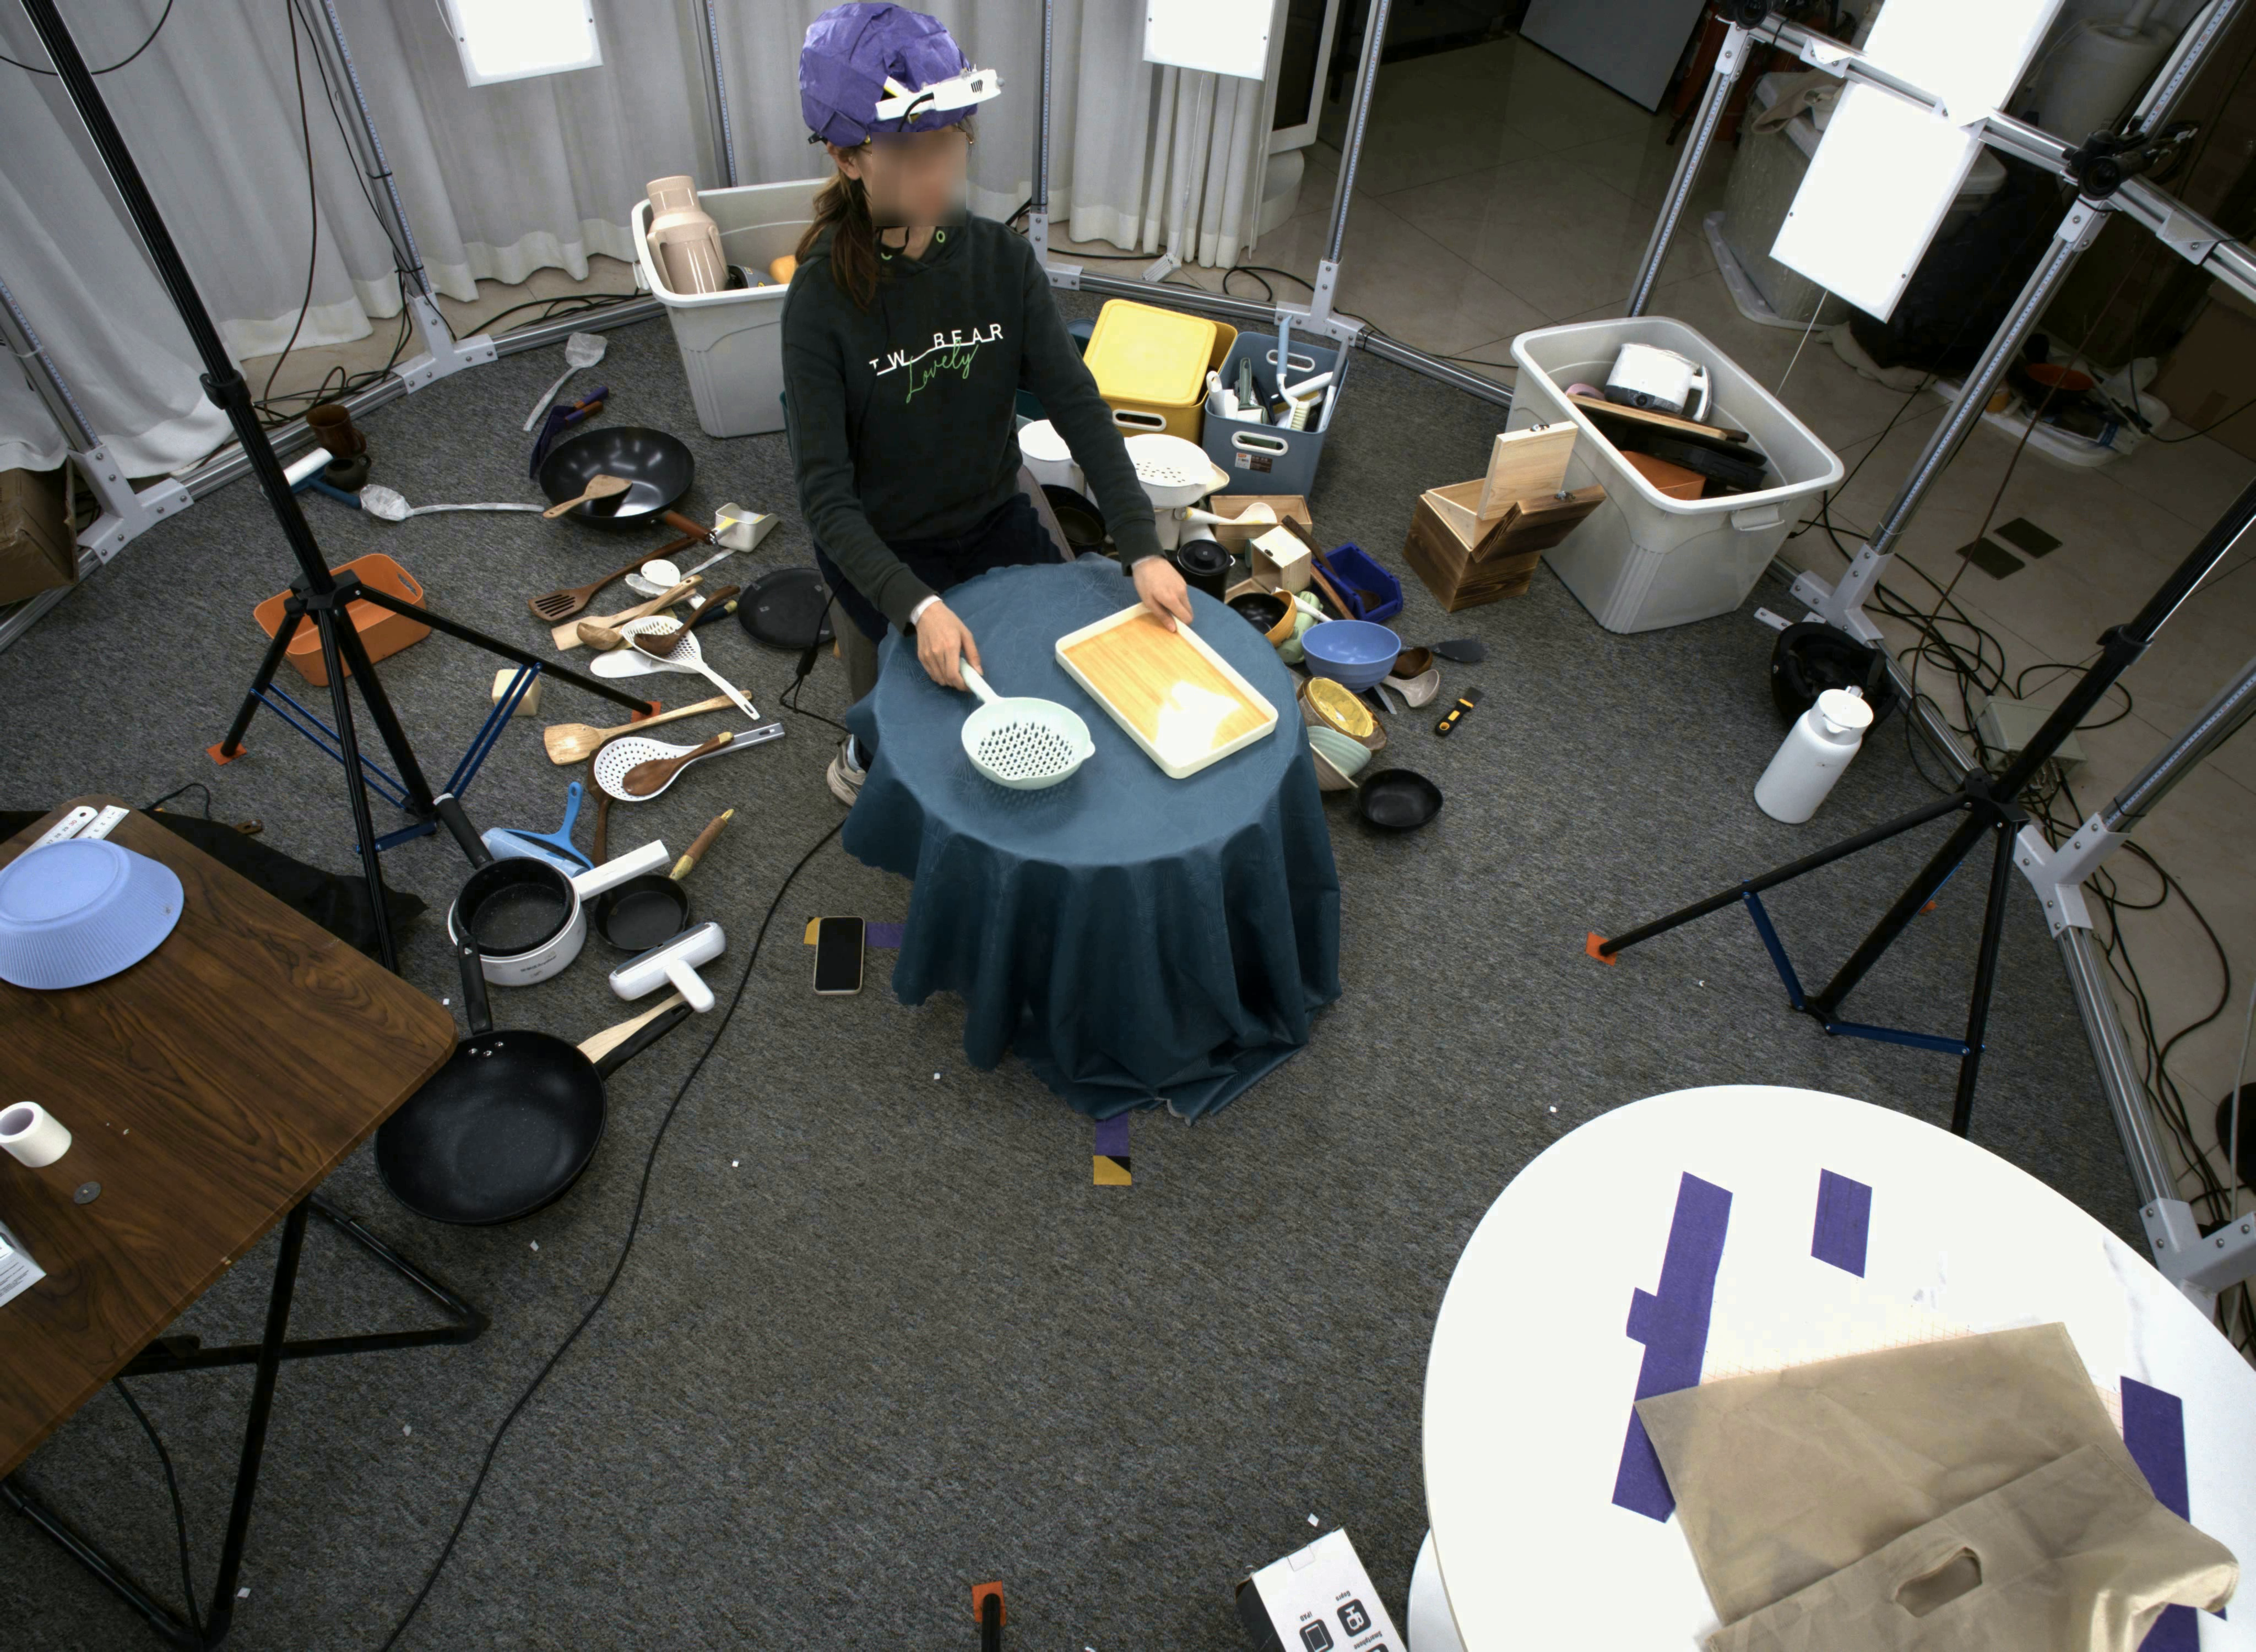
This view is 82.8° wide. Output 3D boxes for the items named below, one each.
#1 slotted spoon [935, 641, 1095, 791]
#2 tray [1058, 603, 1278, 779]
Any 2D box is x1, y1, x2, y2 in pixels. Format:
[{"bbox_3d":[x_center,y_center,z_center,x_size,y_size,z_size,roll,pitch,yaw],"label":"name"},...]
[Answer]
[{"bbox_3d":[-0.185,-0.167,1.774,0.170,0.073,0.366,-18,53,-25],"label":"slotted spoon"},{"bbox_3d":[0.054,-0.200,1.846,0.192,0.027,0.306,-27,56,-24],"label":"tray"}]
